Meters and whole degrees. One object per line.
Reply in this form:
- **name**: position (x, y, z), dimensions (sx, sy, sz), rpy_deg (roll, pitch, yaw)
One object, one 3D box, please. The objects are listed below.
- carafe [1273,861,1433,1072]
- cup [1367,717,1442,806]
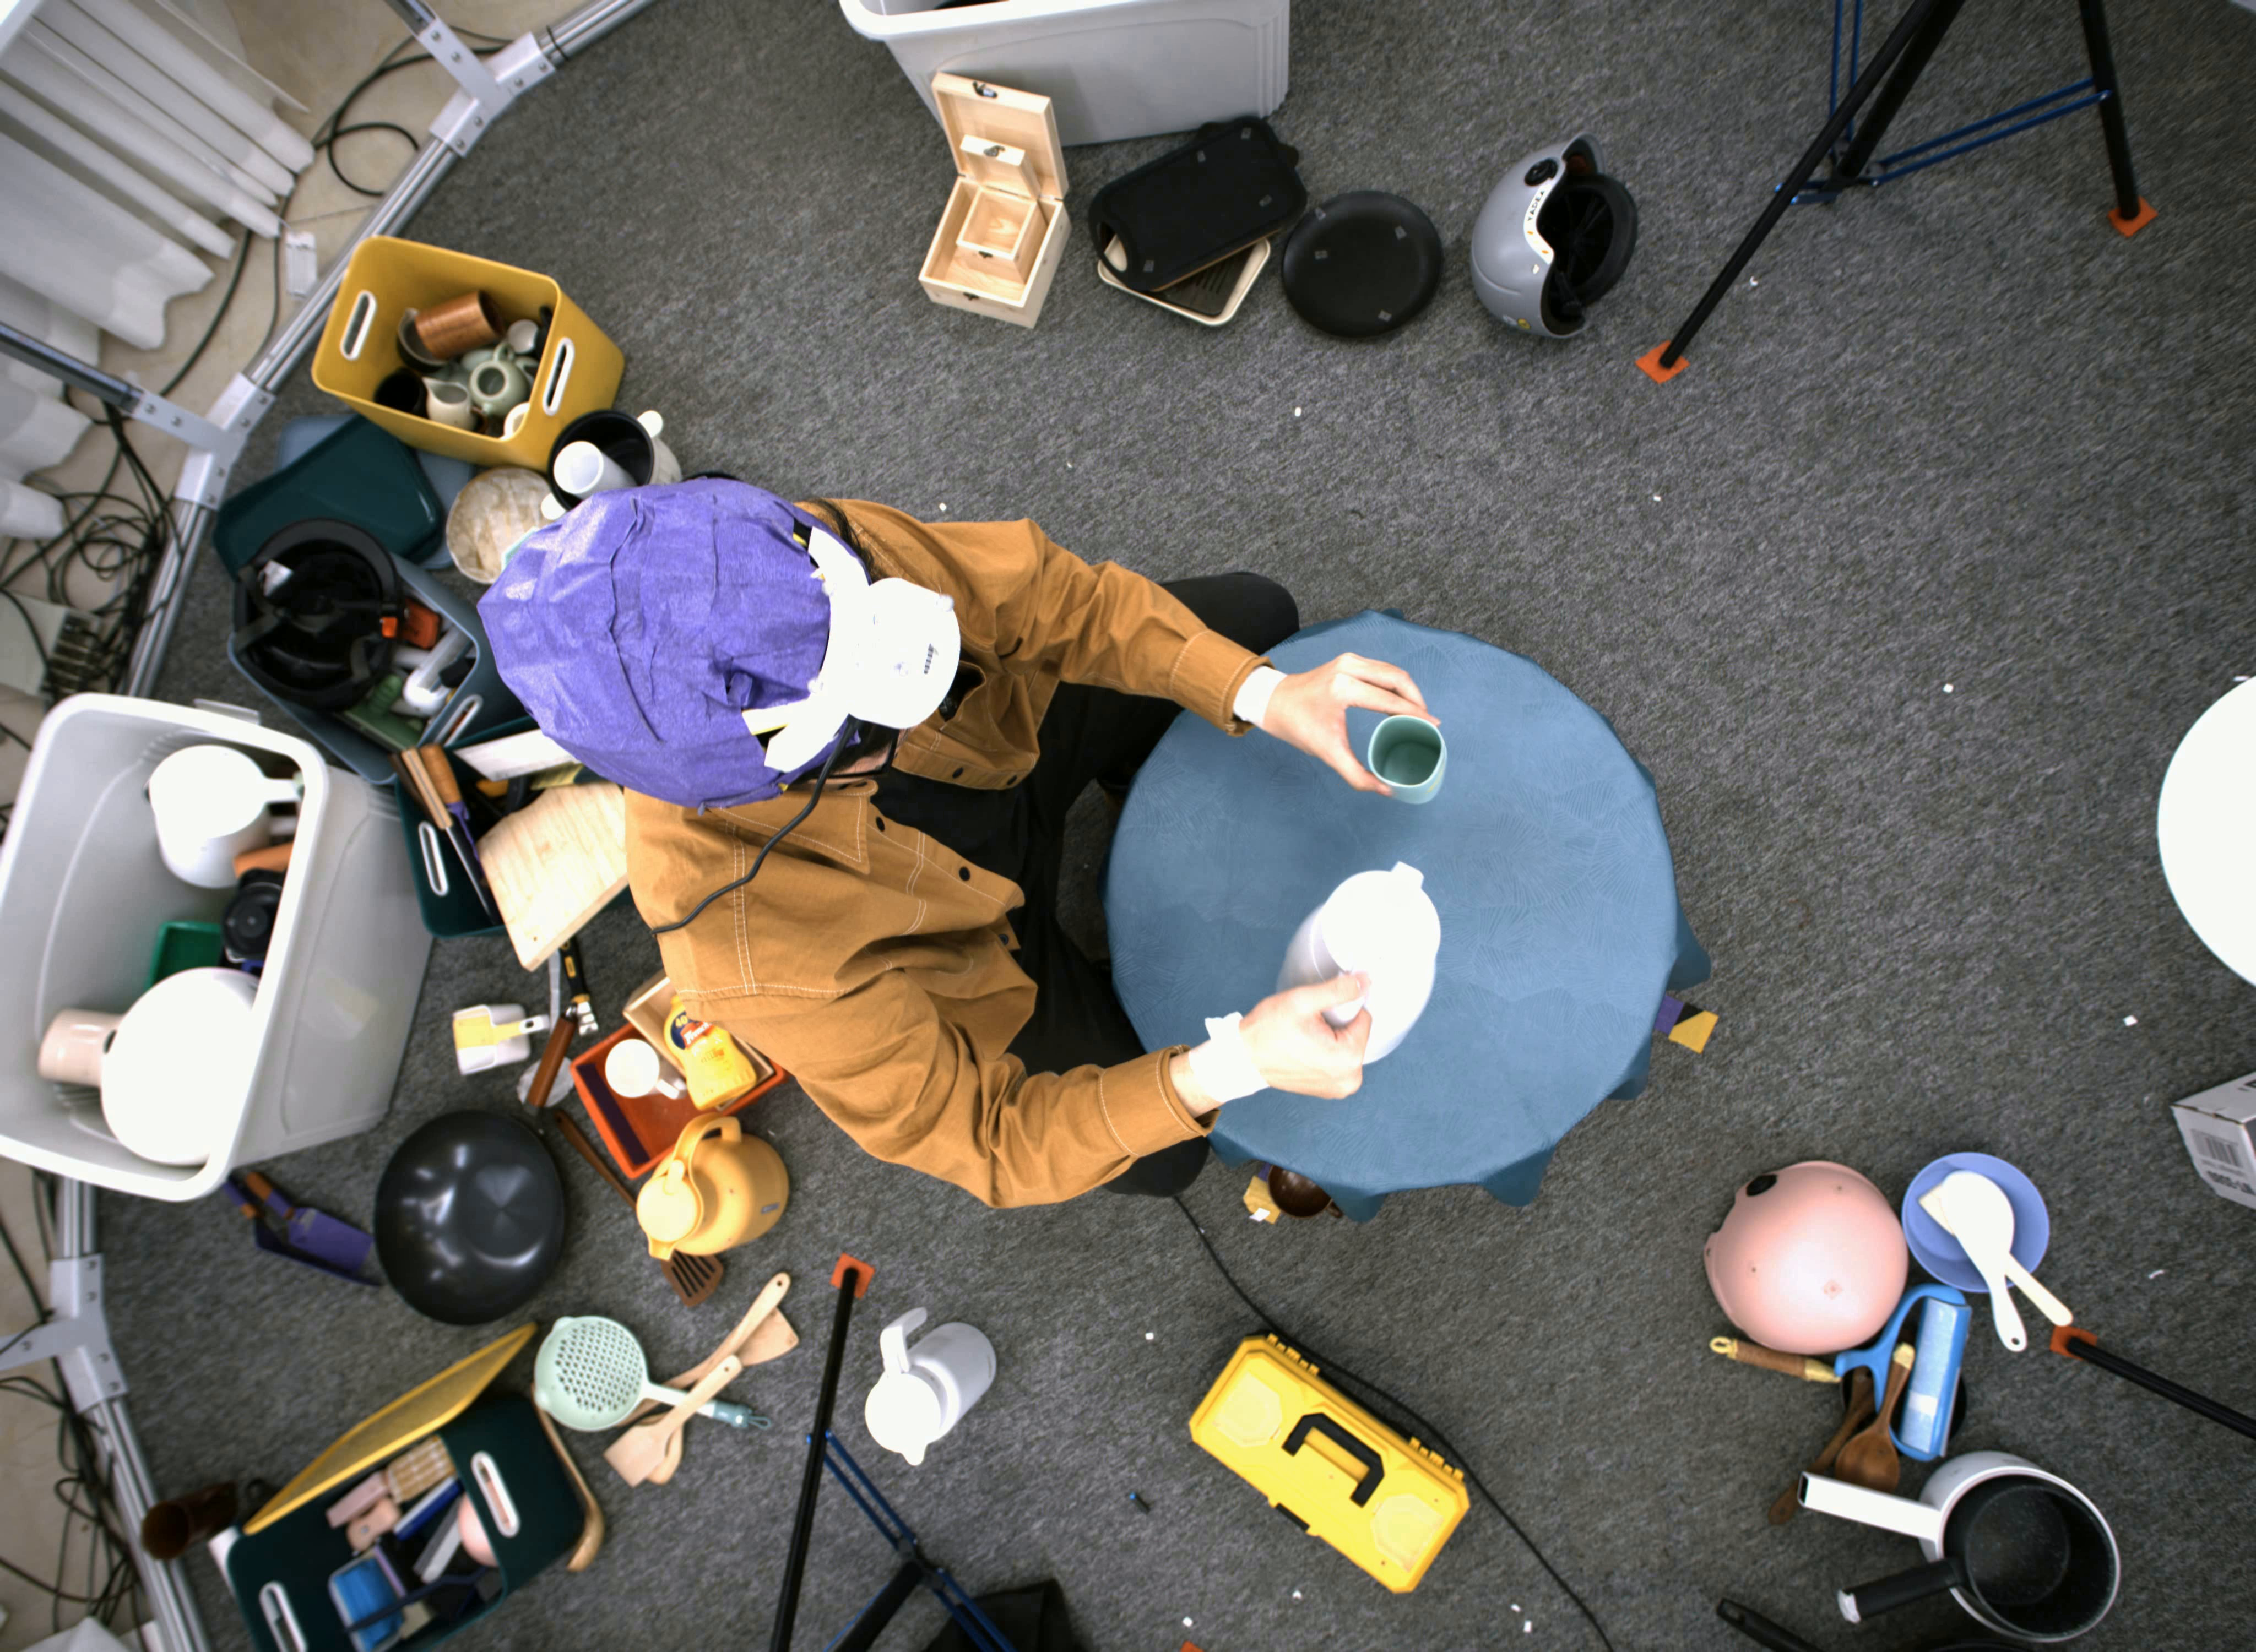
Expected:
- **carafe**: position (0.191, 0.135, 1.186), dimensions (0.132, 0.252, 0.165), rpy_deg (24, 73, 11)
- **cup**: position (0.254, -0.059, 1.262), dimensions (0.067, 0.132, 0.066), rpy_deg (-1, 85, 14)
